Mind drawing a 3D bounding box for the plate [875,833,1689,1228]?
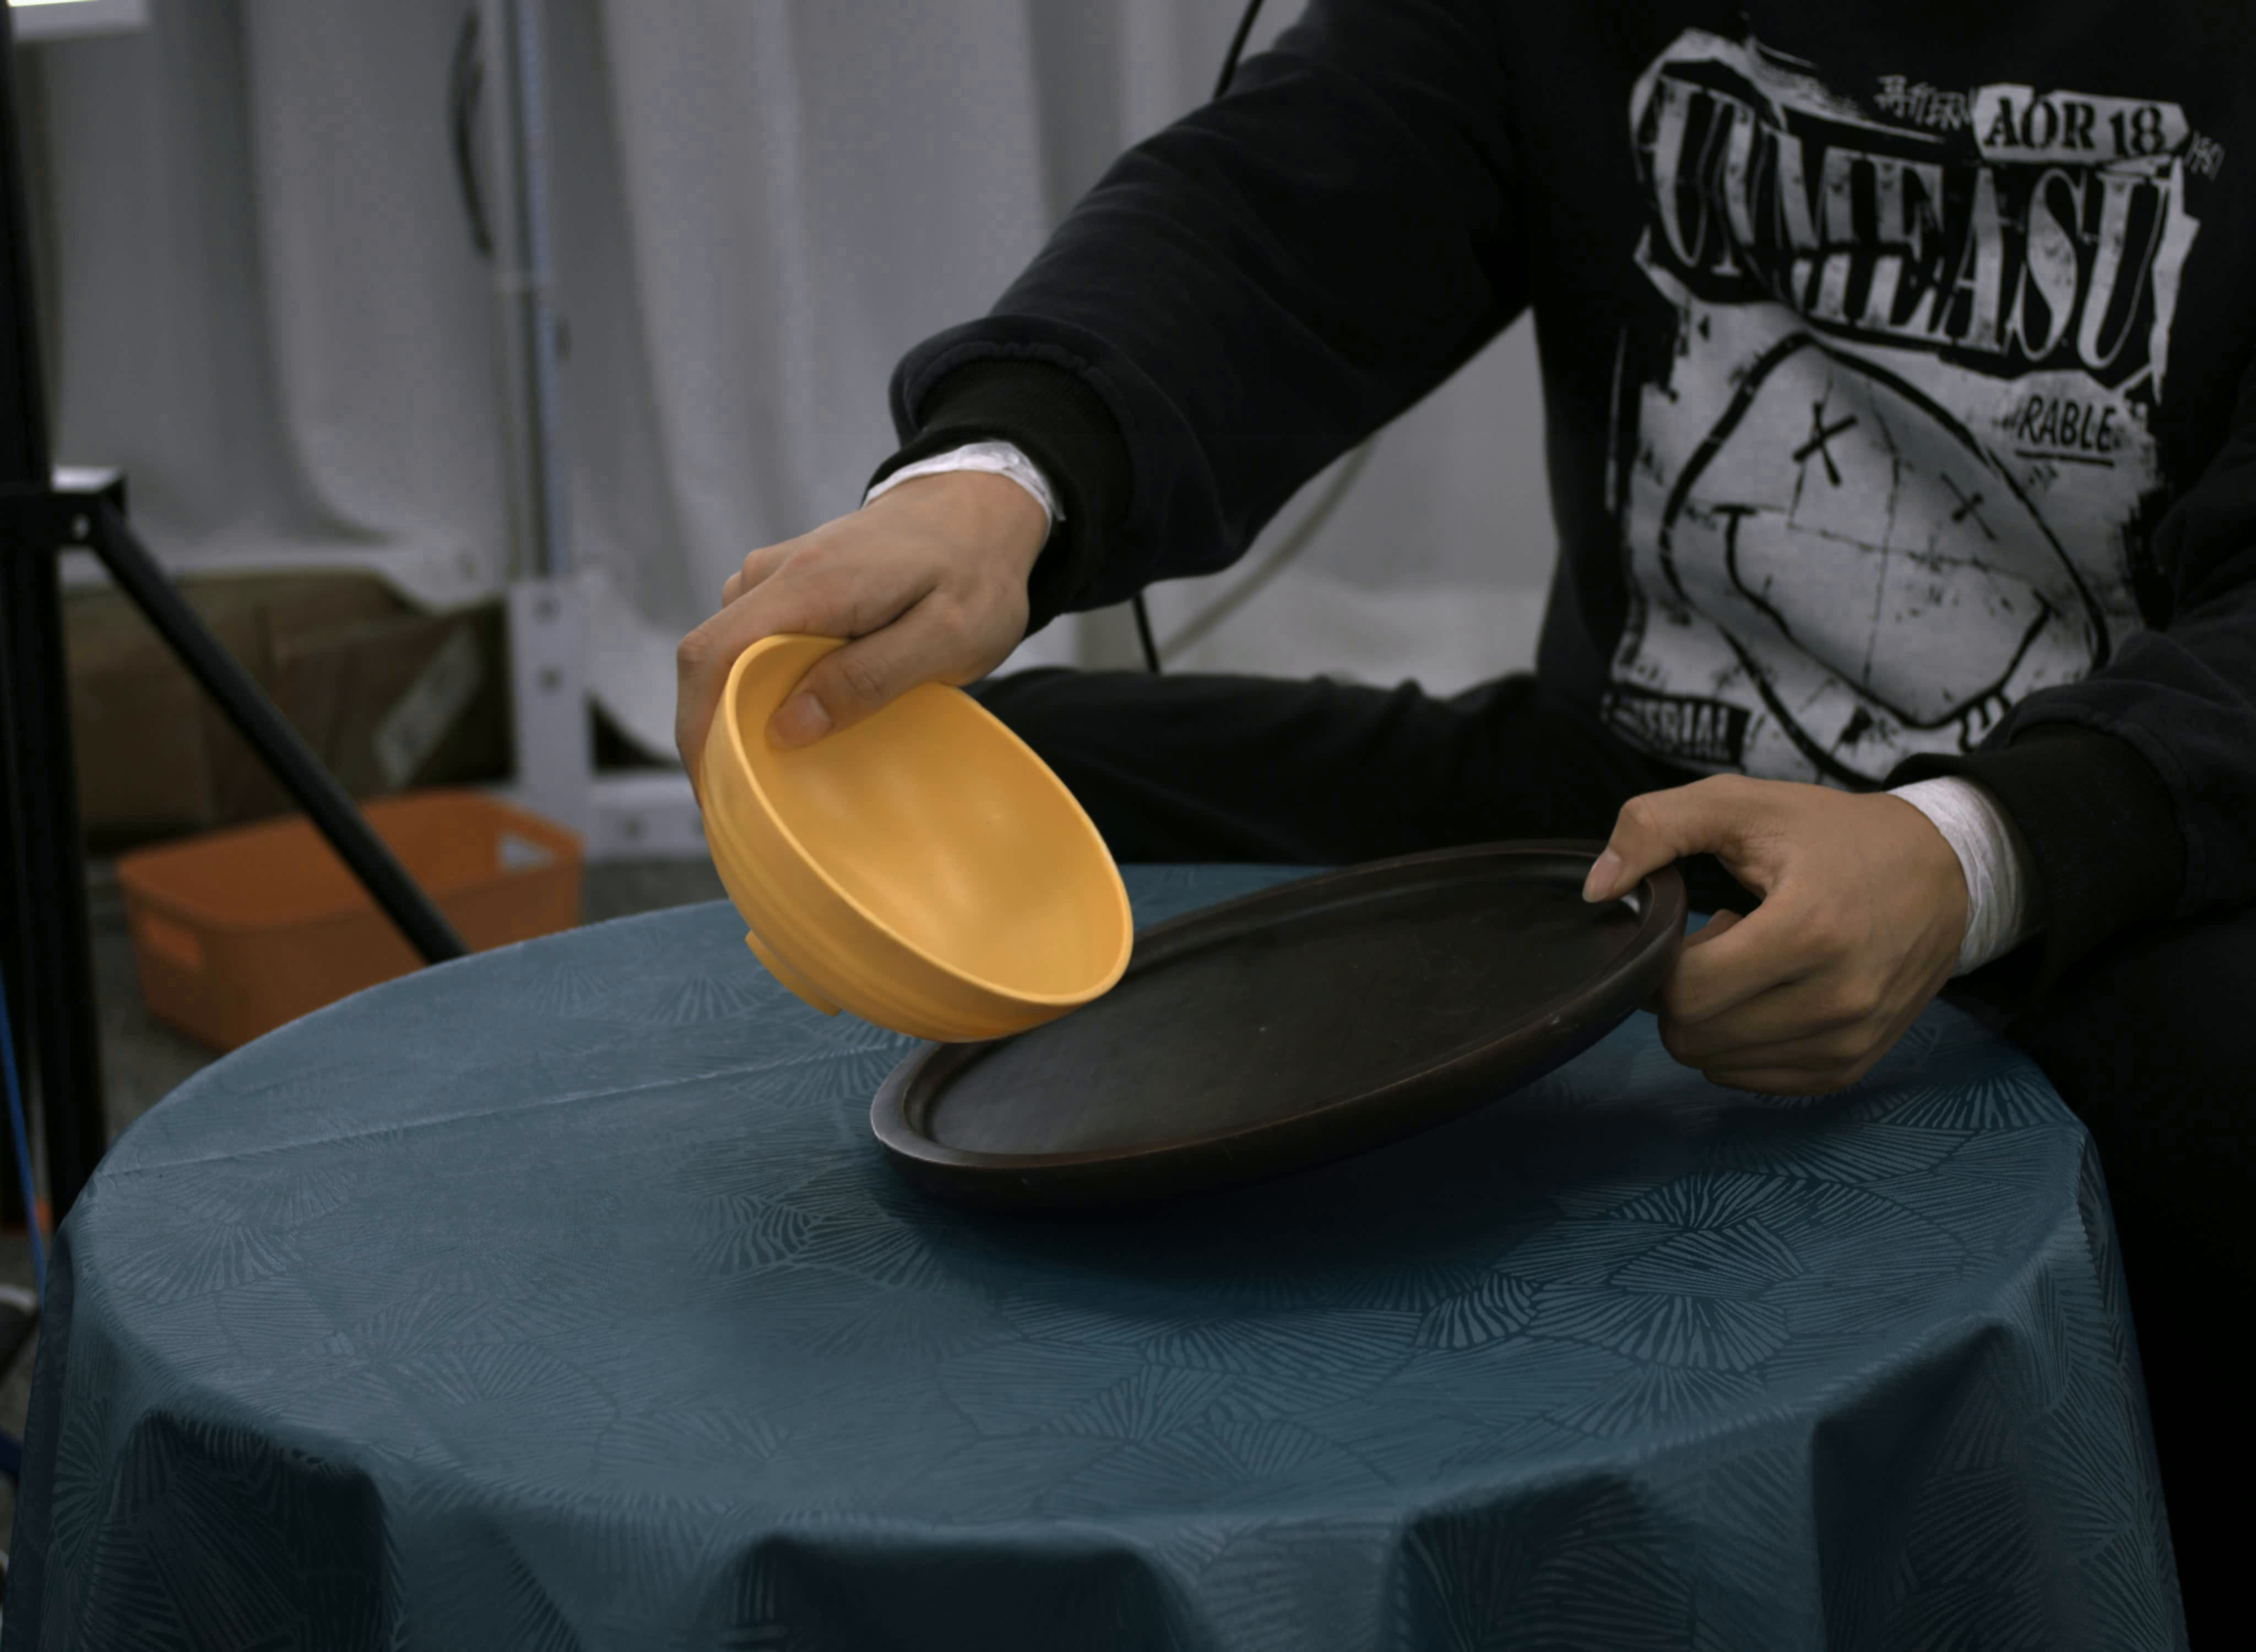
[{"bbox_3d":[0.047,0.060,1.579,0.254,0.029,0.256,-19,12,2],"label":"plate"}]

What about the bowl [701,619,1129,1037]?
[{"bbox_3d":[-0.073,0.013,1.555,0.142,0.060,0.147,29,31,-21],"label":"bowl"}]
